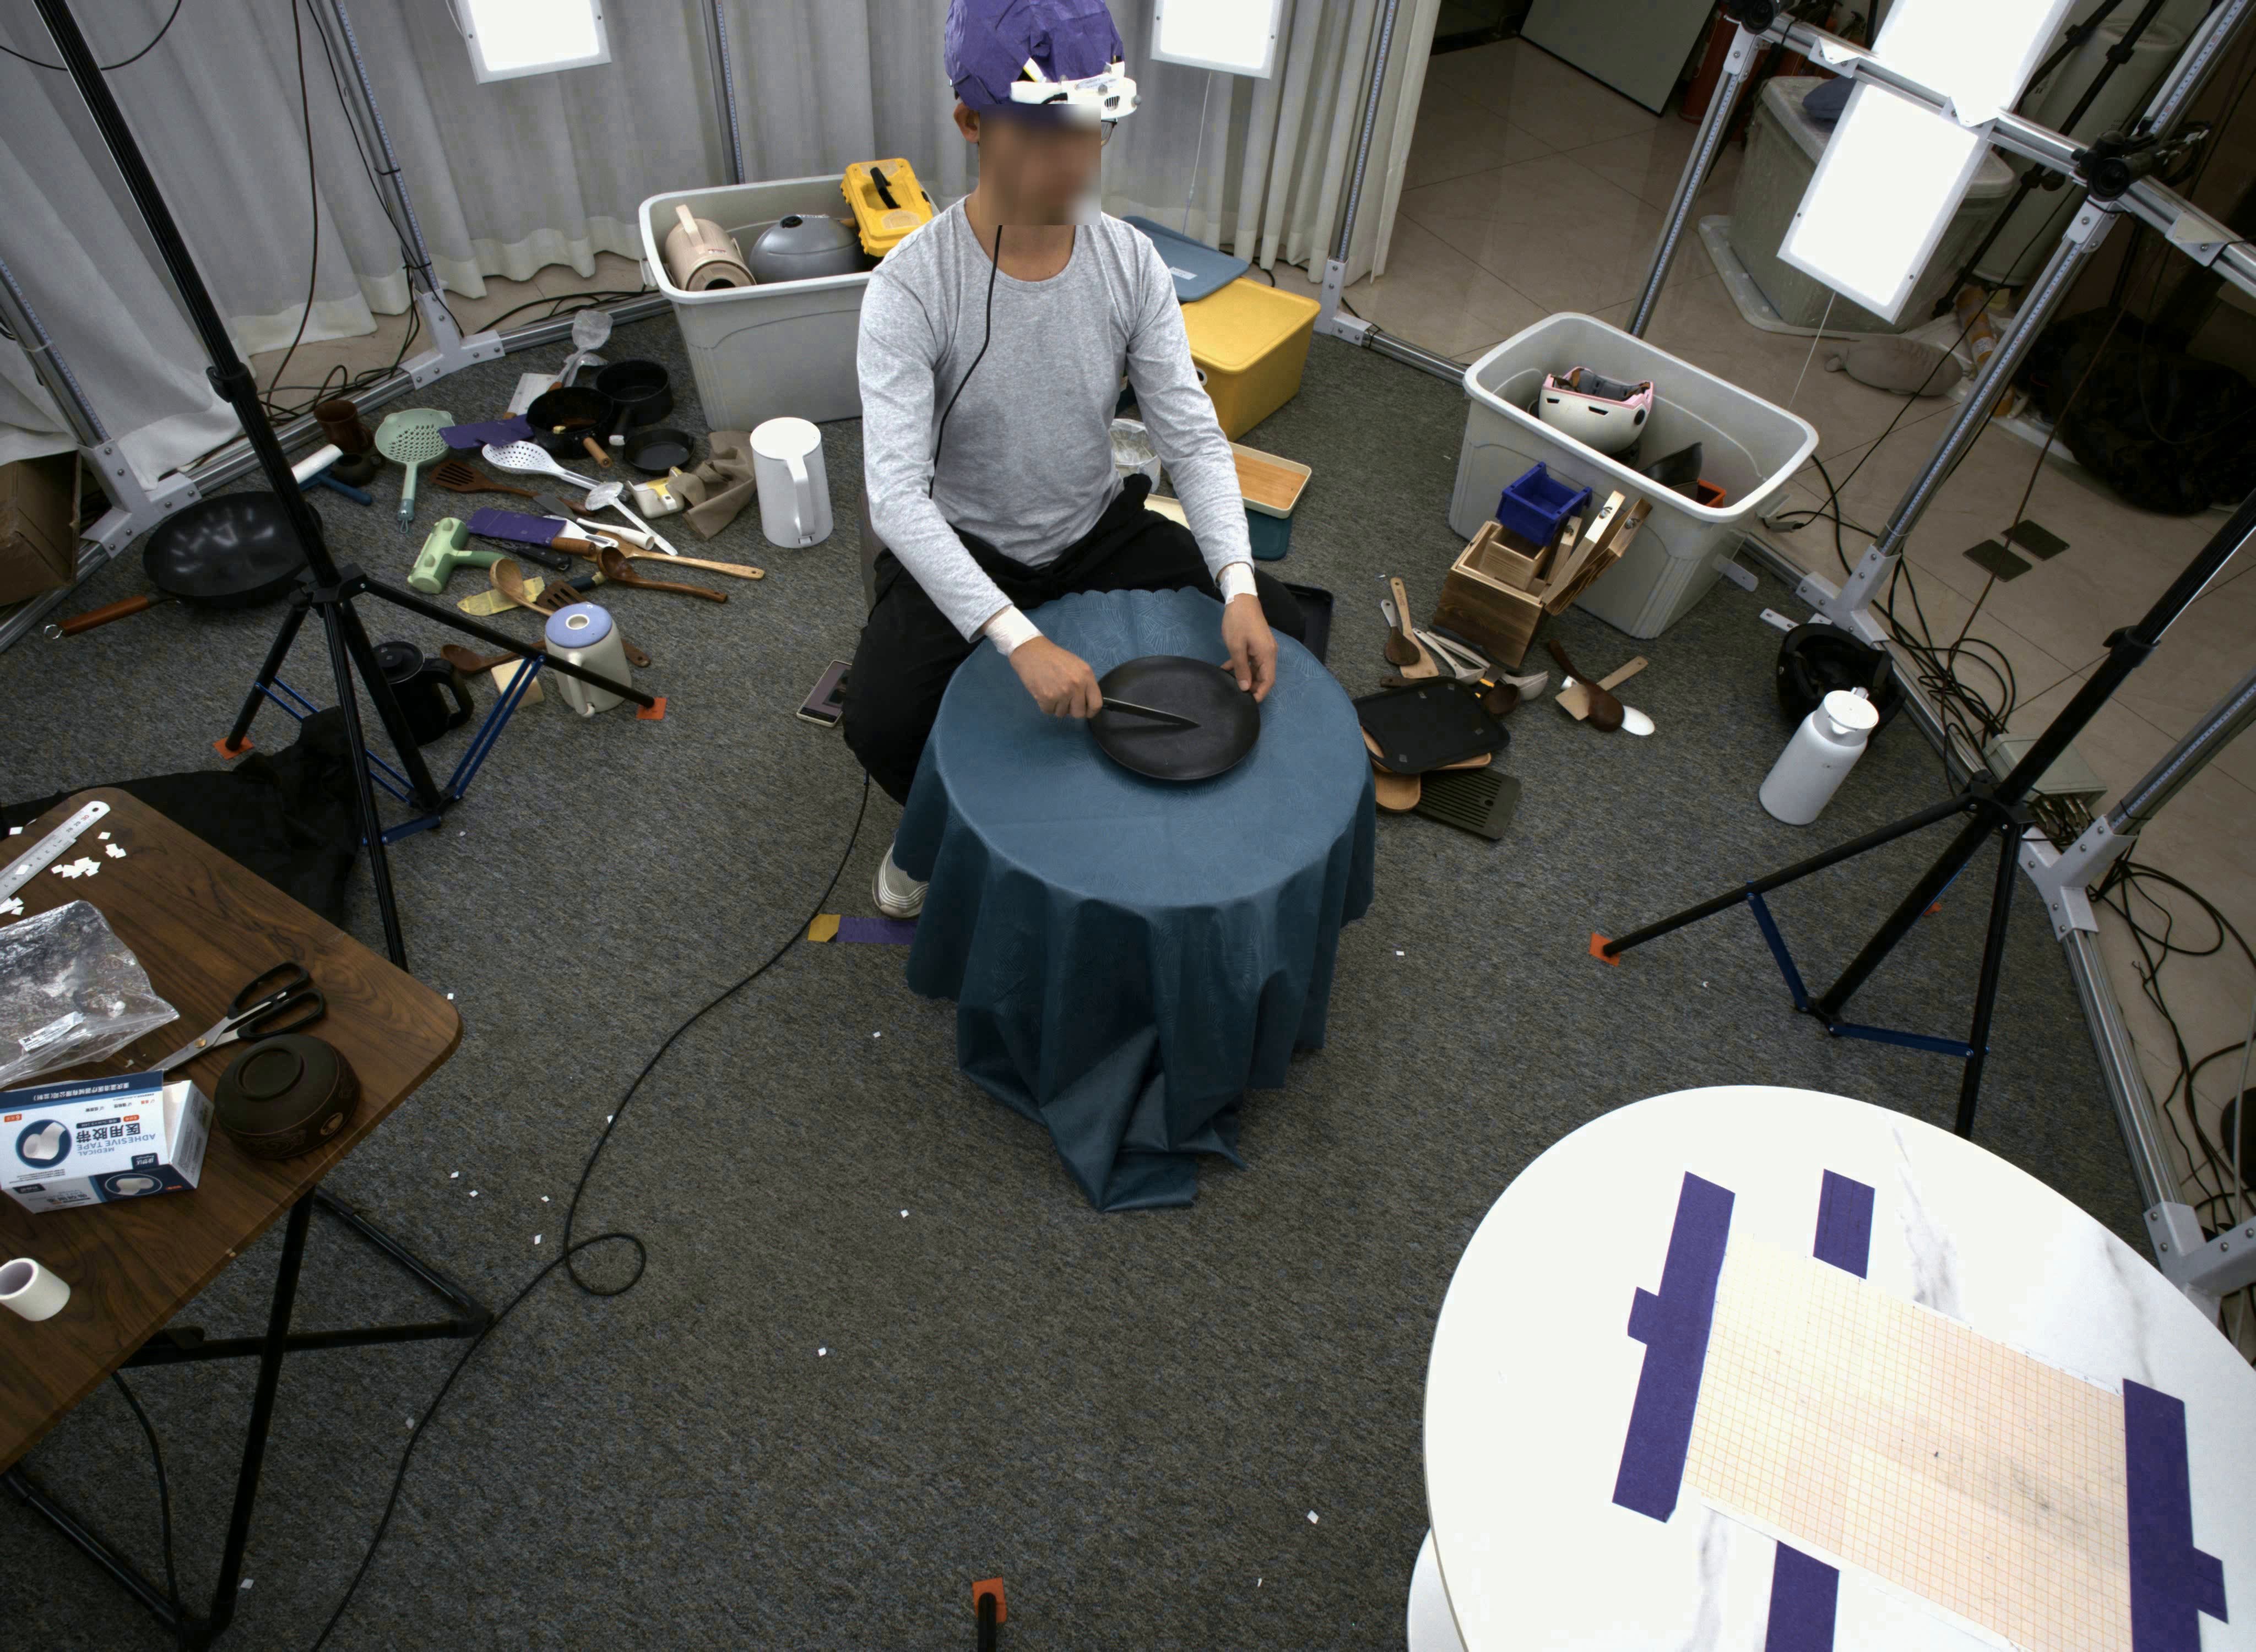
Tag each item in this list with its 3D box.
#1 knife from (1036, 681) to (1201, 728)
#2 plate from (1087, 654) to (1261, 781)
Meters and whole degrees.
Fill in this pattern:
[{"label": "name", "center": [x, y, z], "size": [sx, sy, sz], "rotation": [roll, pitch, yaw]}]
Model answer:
[{"label": "knife", "center": [-0.009, -0.165, 1.756], "size": [0.237, 0.024, 0.017], "rotation": [13, 53, -14]}, {"label": "plate", "center": [0.063, -0.149, 1.786], "size": [0.244, 0.023, 0.250], "rotation": [2, 49, -2]}]
